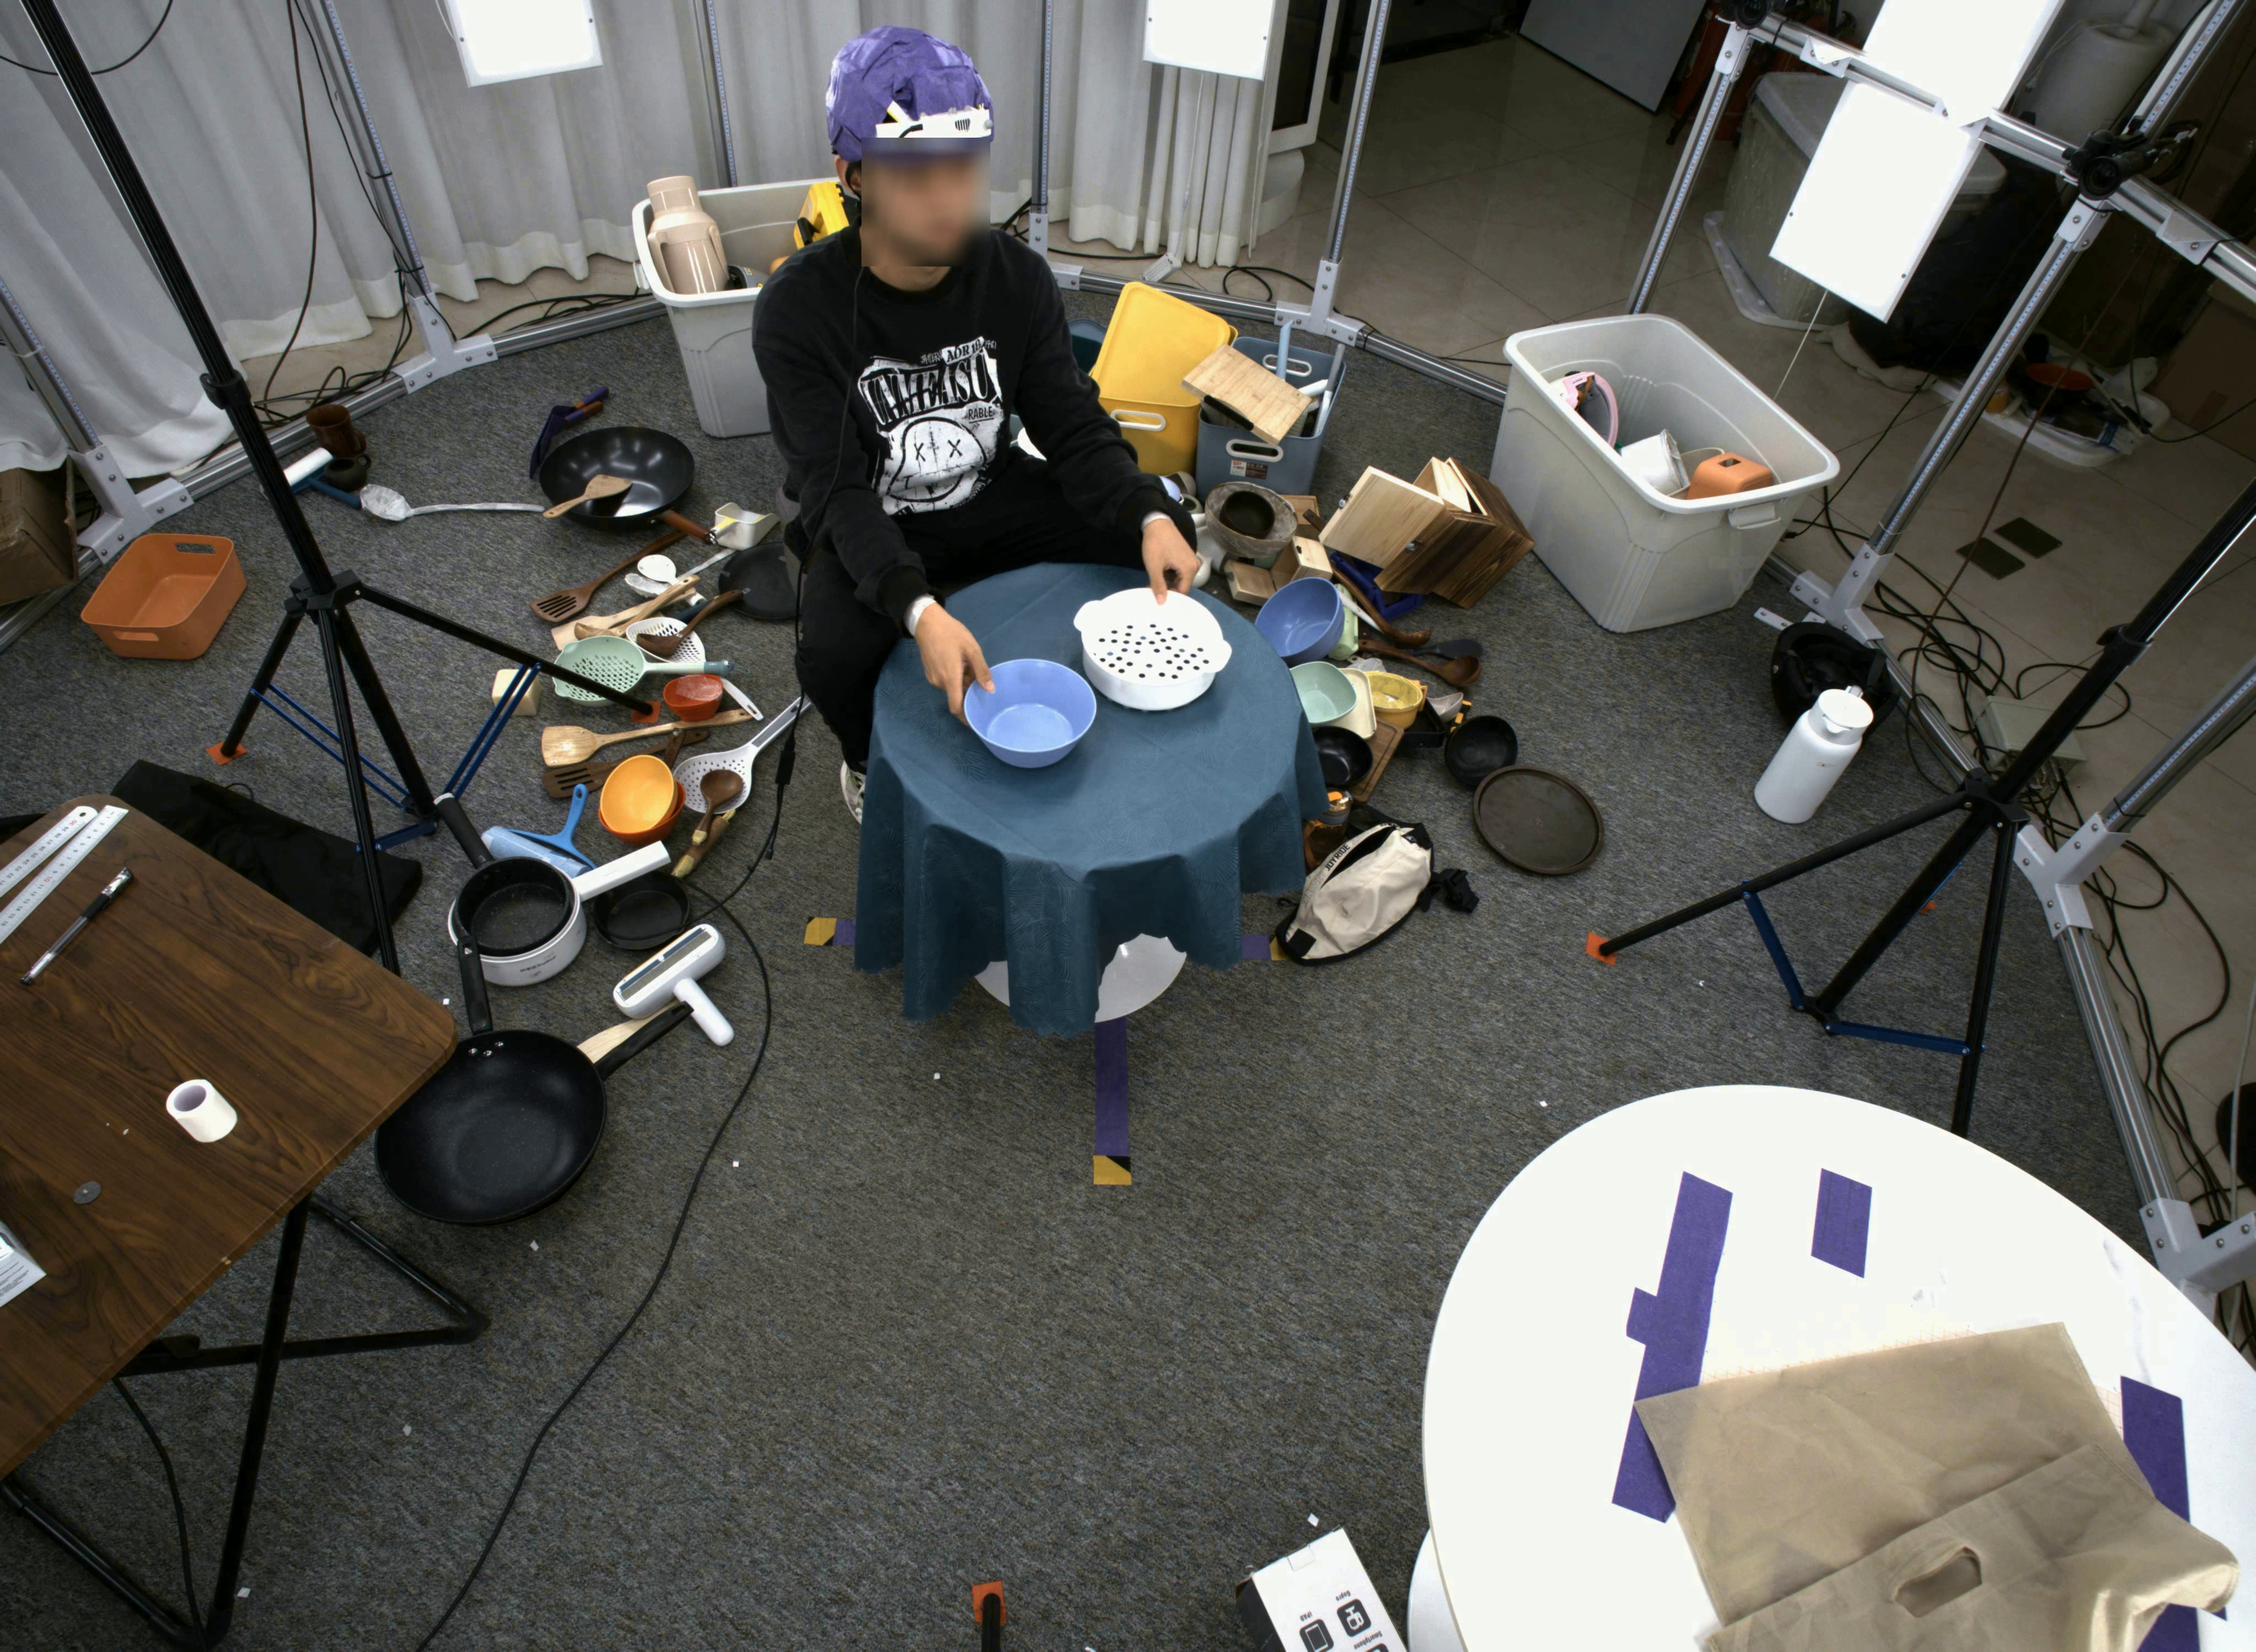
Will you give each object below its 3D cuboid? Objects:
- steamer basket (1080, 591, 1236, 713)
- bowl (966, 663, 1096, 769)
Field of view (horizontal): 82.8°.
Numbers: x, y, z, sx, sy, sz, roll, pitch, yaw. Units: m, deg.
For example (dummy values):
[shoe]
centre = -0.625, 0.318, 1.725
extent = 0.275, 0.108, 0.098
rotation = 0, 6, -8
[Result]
[steamer basket]
centre = 0.040, -0.251, 1.862
extent = 0.231, 0.067, 0.206
rotation = 20, 51, 11
[bowl]
centre = -0.133, -0.141, 1.752
extent = 0.176, 0.068, 0.180
rotation = 2, 48, -3
